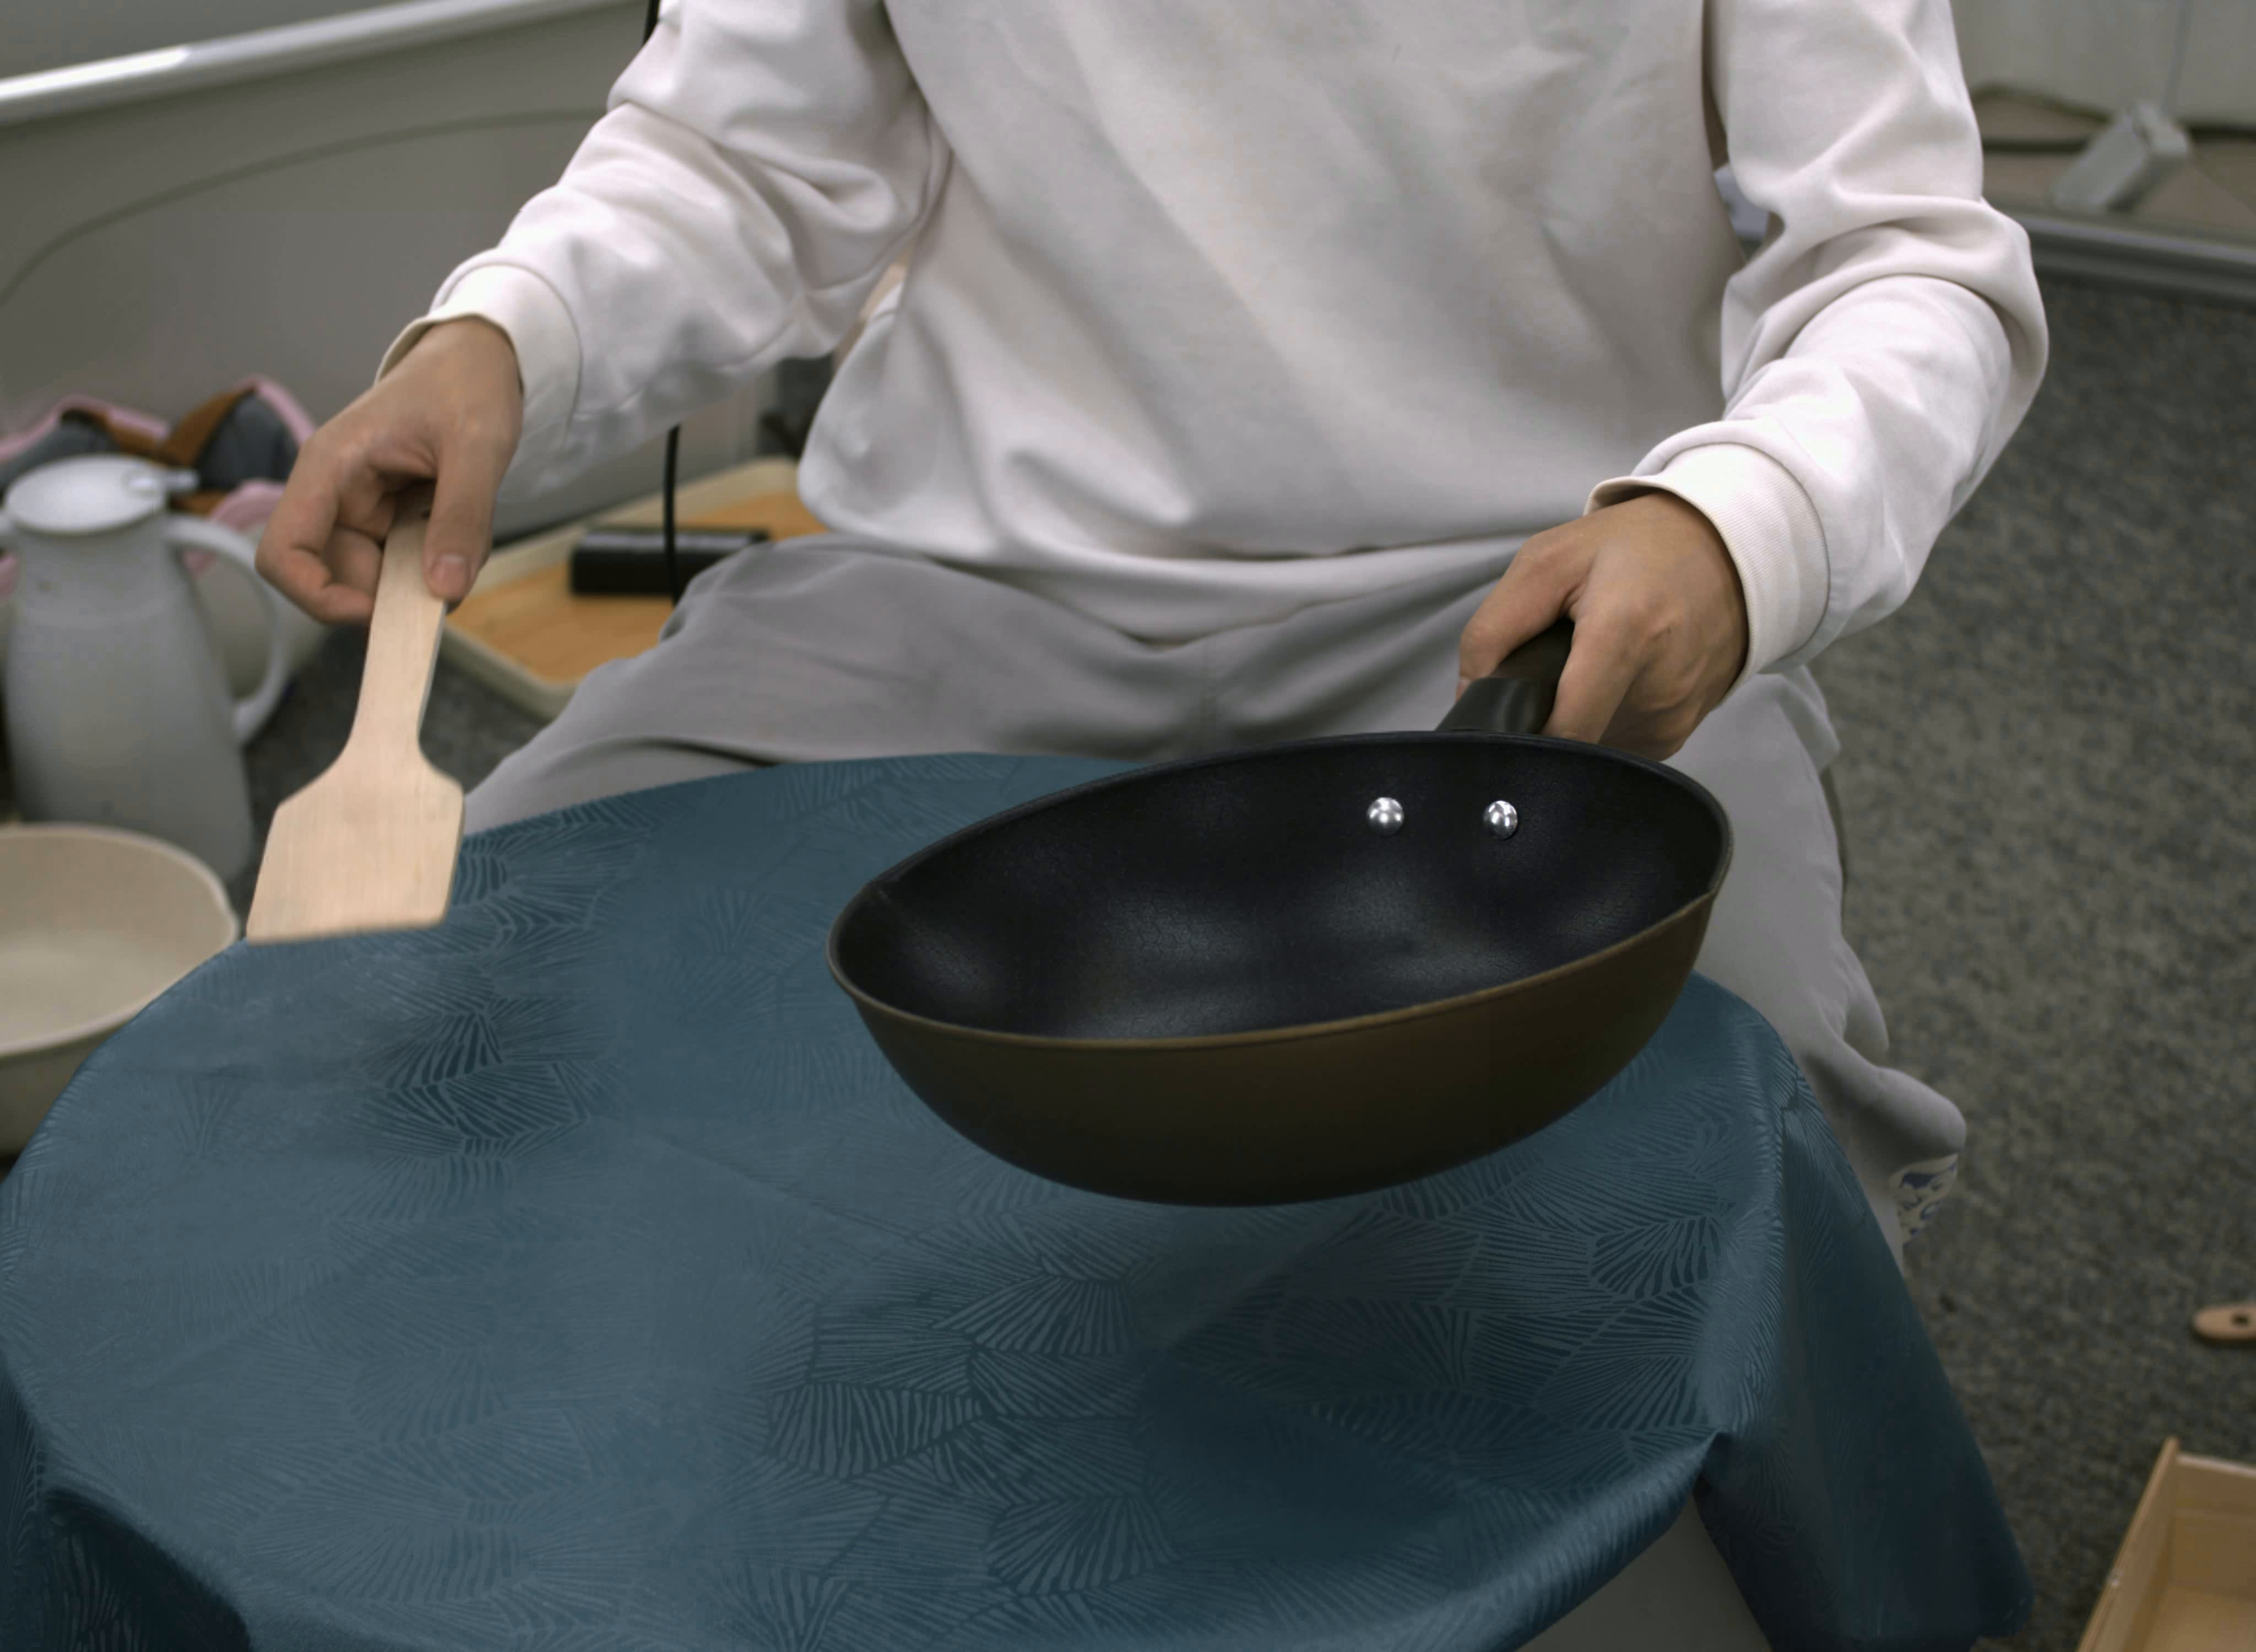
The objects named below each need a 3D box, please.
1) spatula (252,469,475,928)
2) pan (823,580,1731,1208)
[{"bbox_3d":[-0.263,-0.049,2.021,0.072,0.010,0.298,-7,34,4],"label":"spatula"},{"bbox_3d":[0.089,0.022,1.822,0.285,0.086,0.470,1,19,27],"label":"pan"}]
